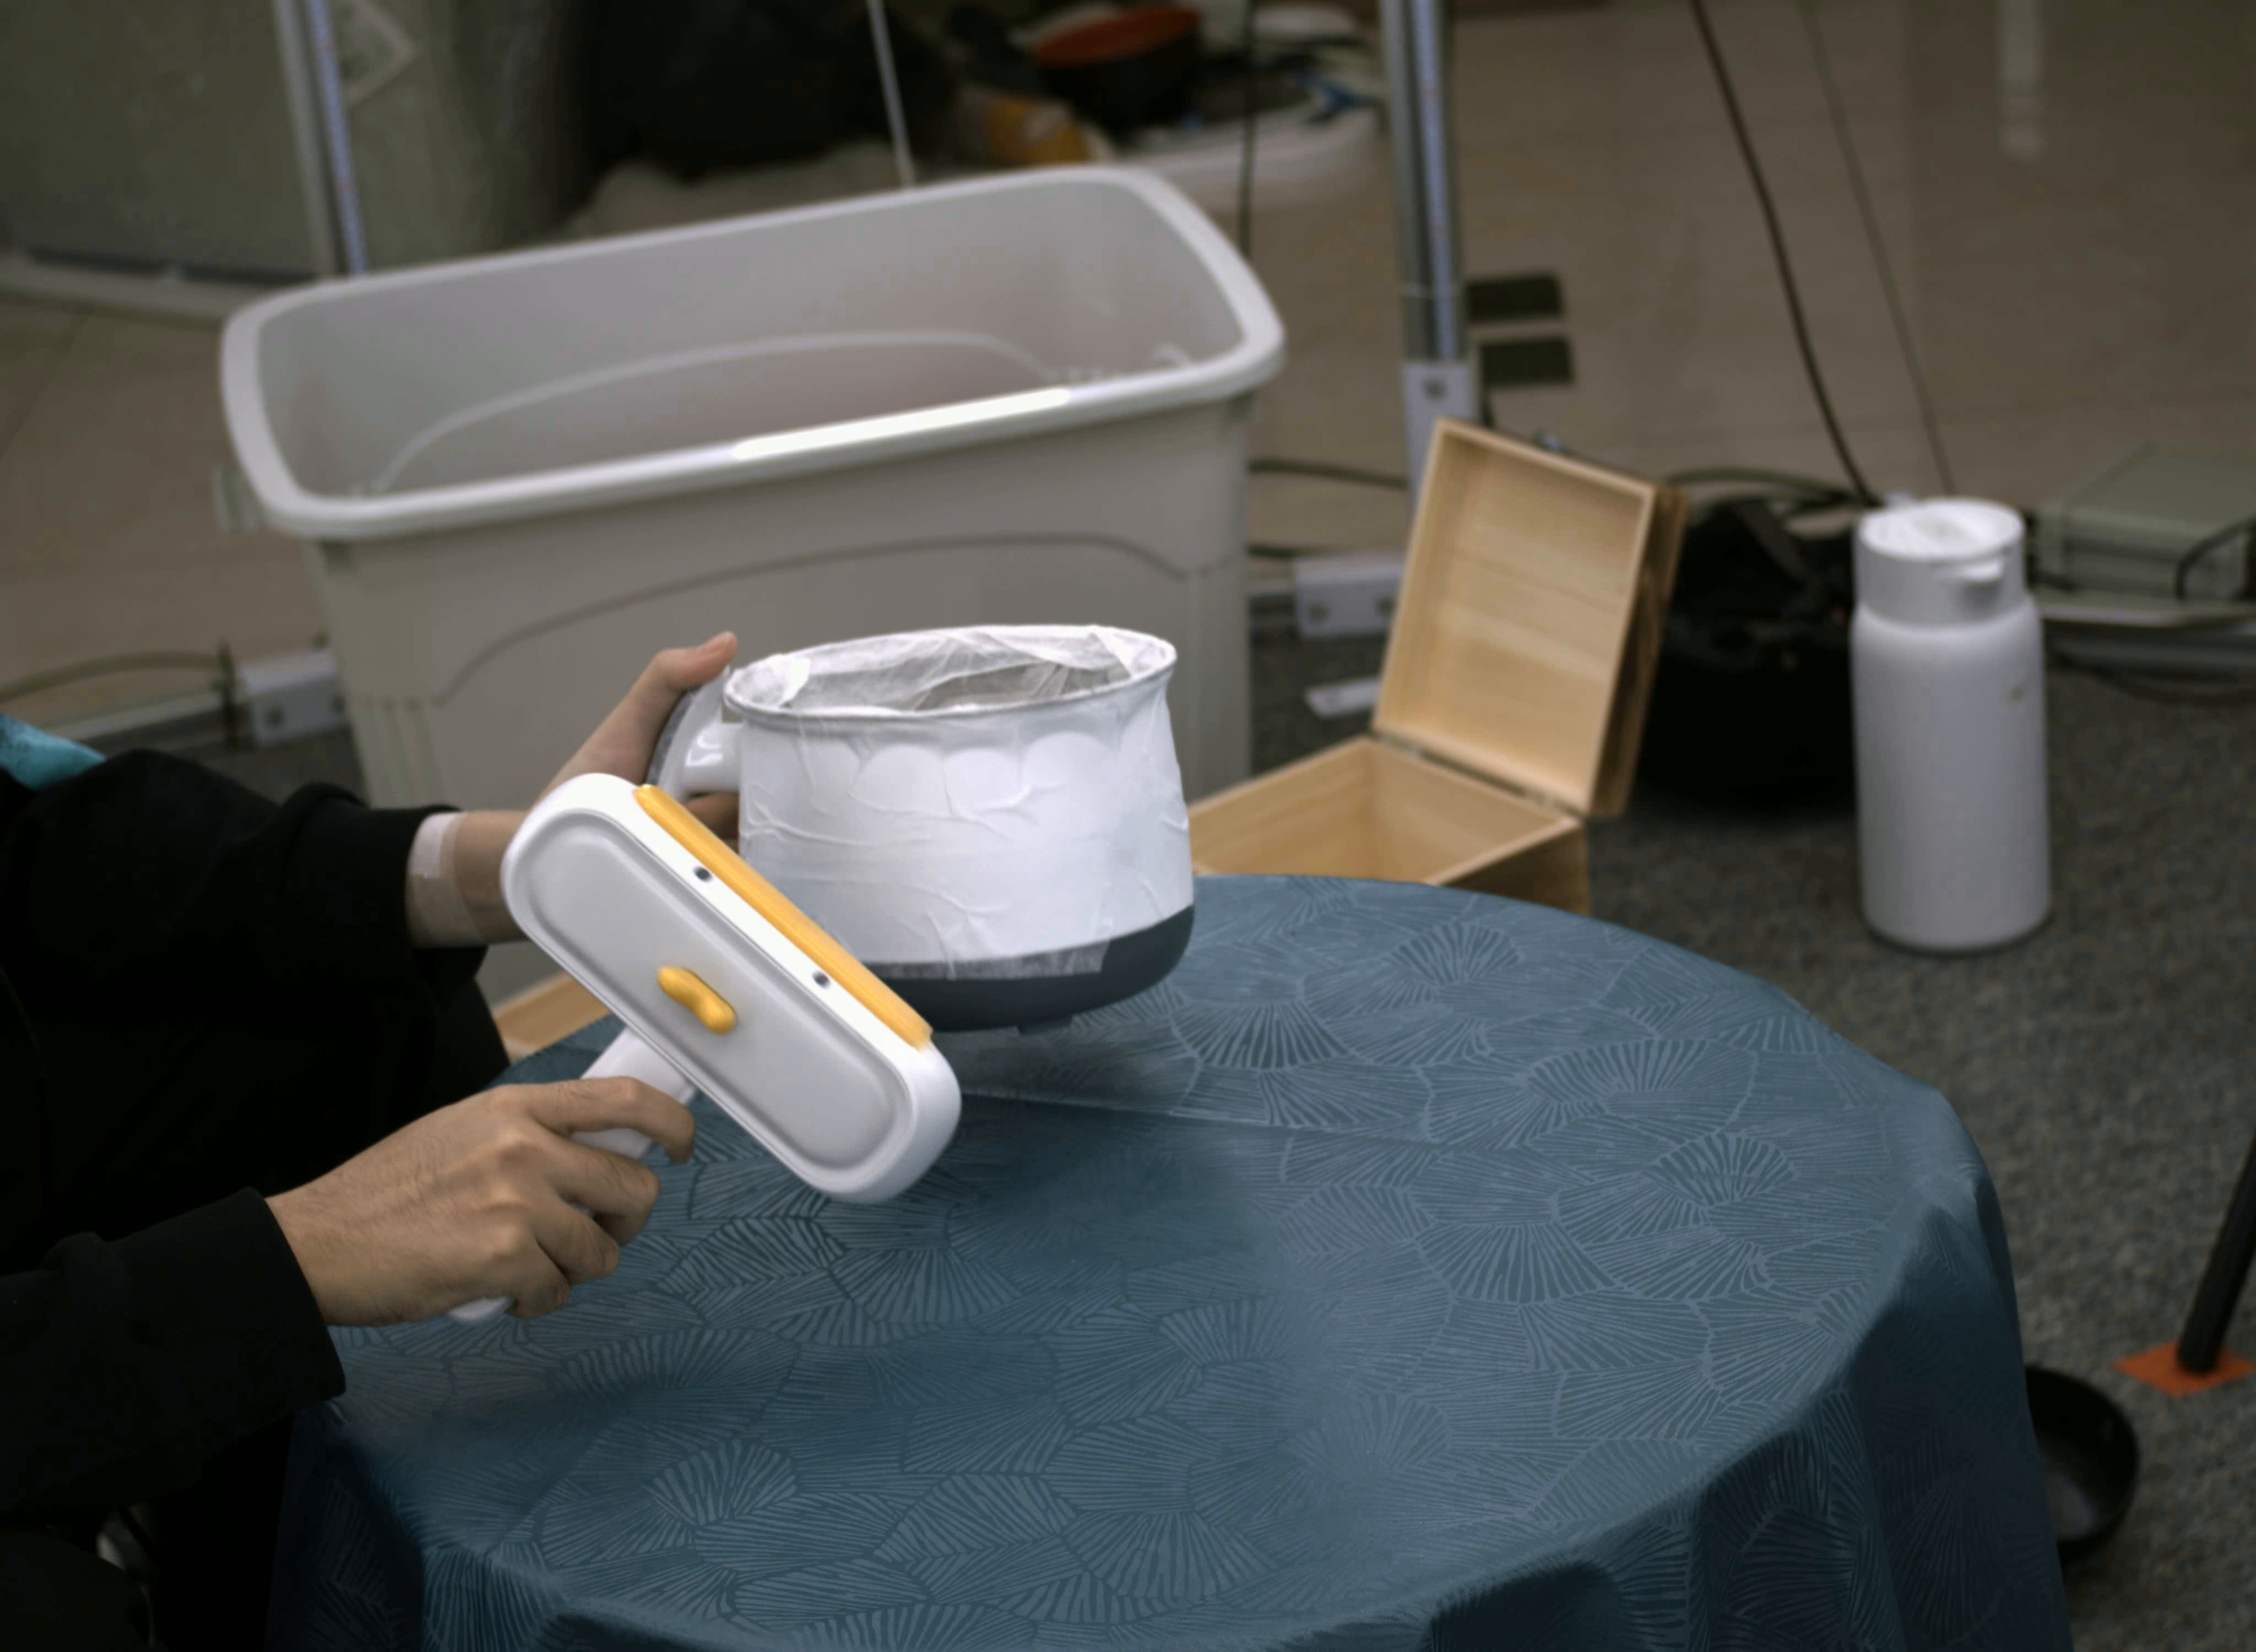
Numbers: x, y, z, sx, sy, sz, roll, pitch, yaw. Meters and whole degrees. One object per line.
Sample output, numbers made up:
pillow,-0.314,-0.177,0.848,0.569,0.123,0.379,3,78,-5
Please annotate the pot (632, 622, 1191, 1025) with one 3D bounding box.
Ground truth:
pot,-0.091,-0.003,2.211,0.233,0.138,0.177,1,12,19

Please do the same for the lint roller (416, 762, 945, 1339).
lint roller,-0.187,0.100,2.039,0.192,0.193,0.074,36,4,2
